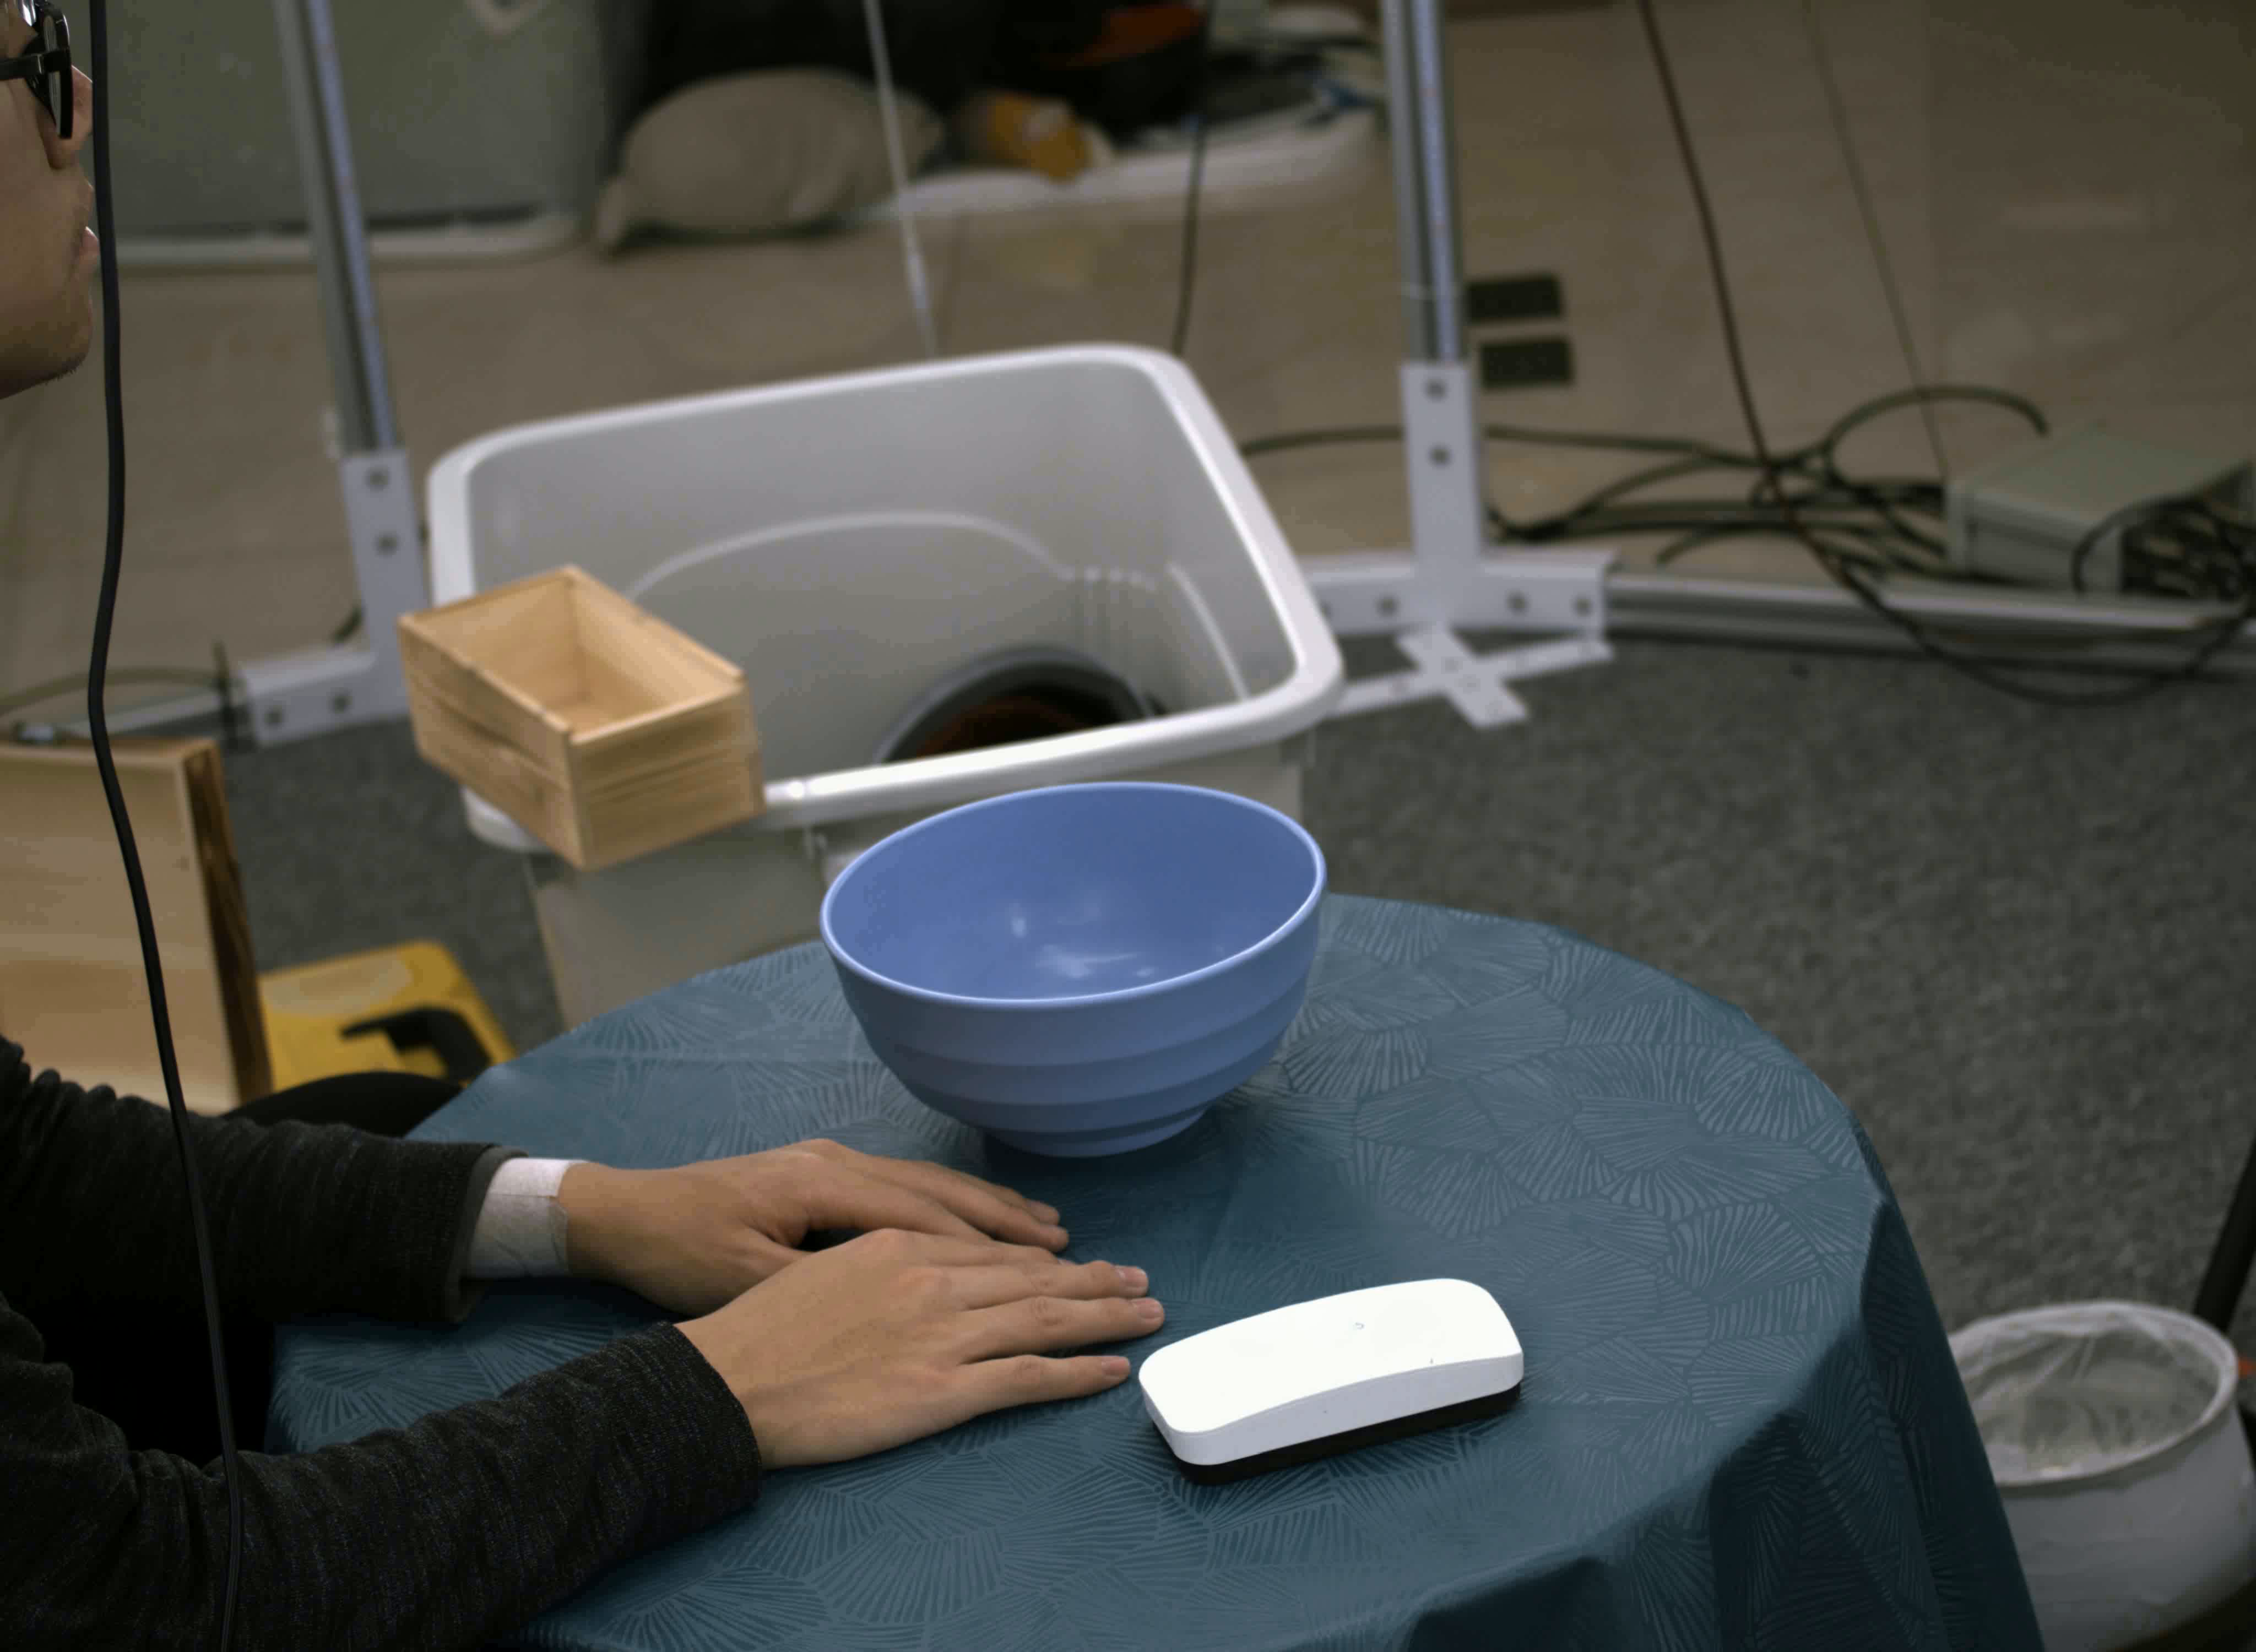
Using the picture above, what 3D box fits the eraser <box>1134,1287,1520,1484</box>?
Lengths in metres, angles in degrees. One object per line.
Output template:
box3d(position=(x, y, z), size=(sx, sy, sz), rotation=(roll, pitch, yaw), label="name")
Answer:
box3d(position=(0.069, 0.192, 1.981), size=(0.131, 0.035, 0.062), rotation=(-12, 25, -13), label="eraser")

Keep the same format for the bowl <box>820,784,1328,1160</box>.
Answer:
box3d(position=(-0.017, 0.067, 2.195), size=(0.196, 0.097, 0.193), rotation=(-5, 25, 2), label="bowl")
